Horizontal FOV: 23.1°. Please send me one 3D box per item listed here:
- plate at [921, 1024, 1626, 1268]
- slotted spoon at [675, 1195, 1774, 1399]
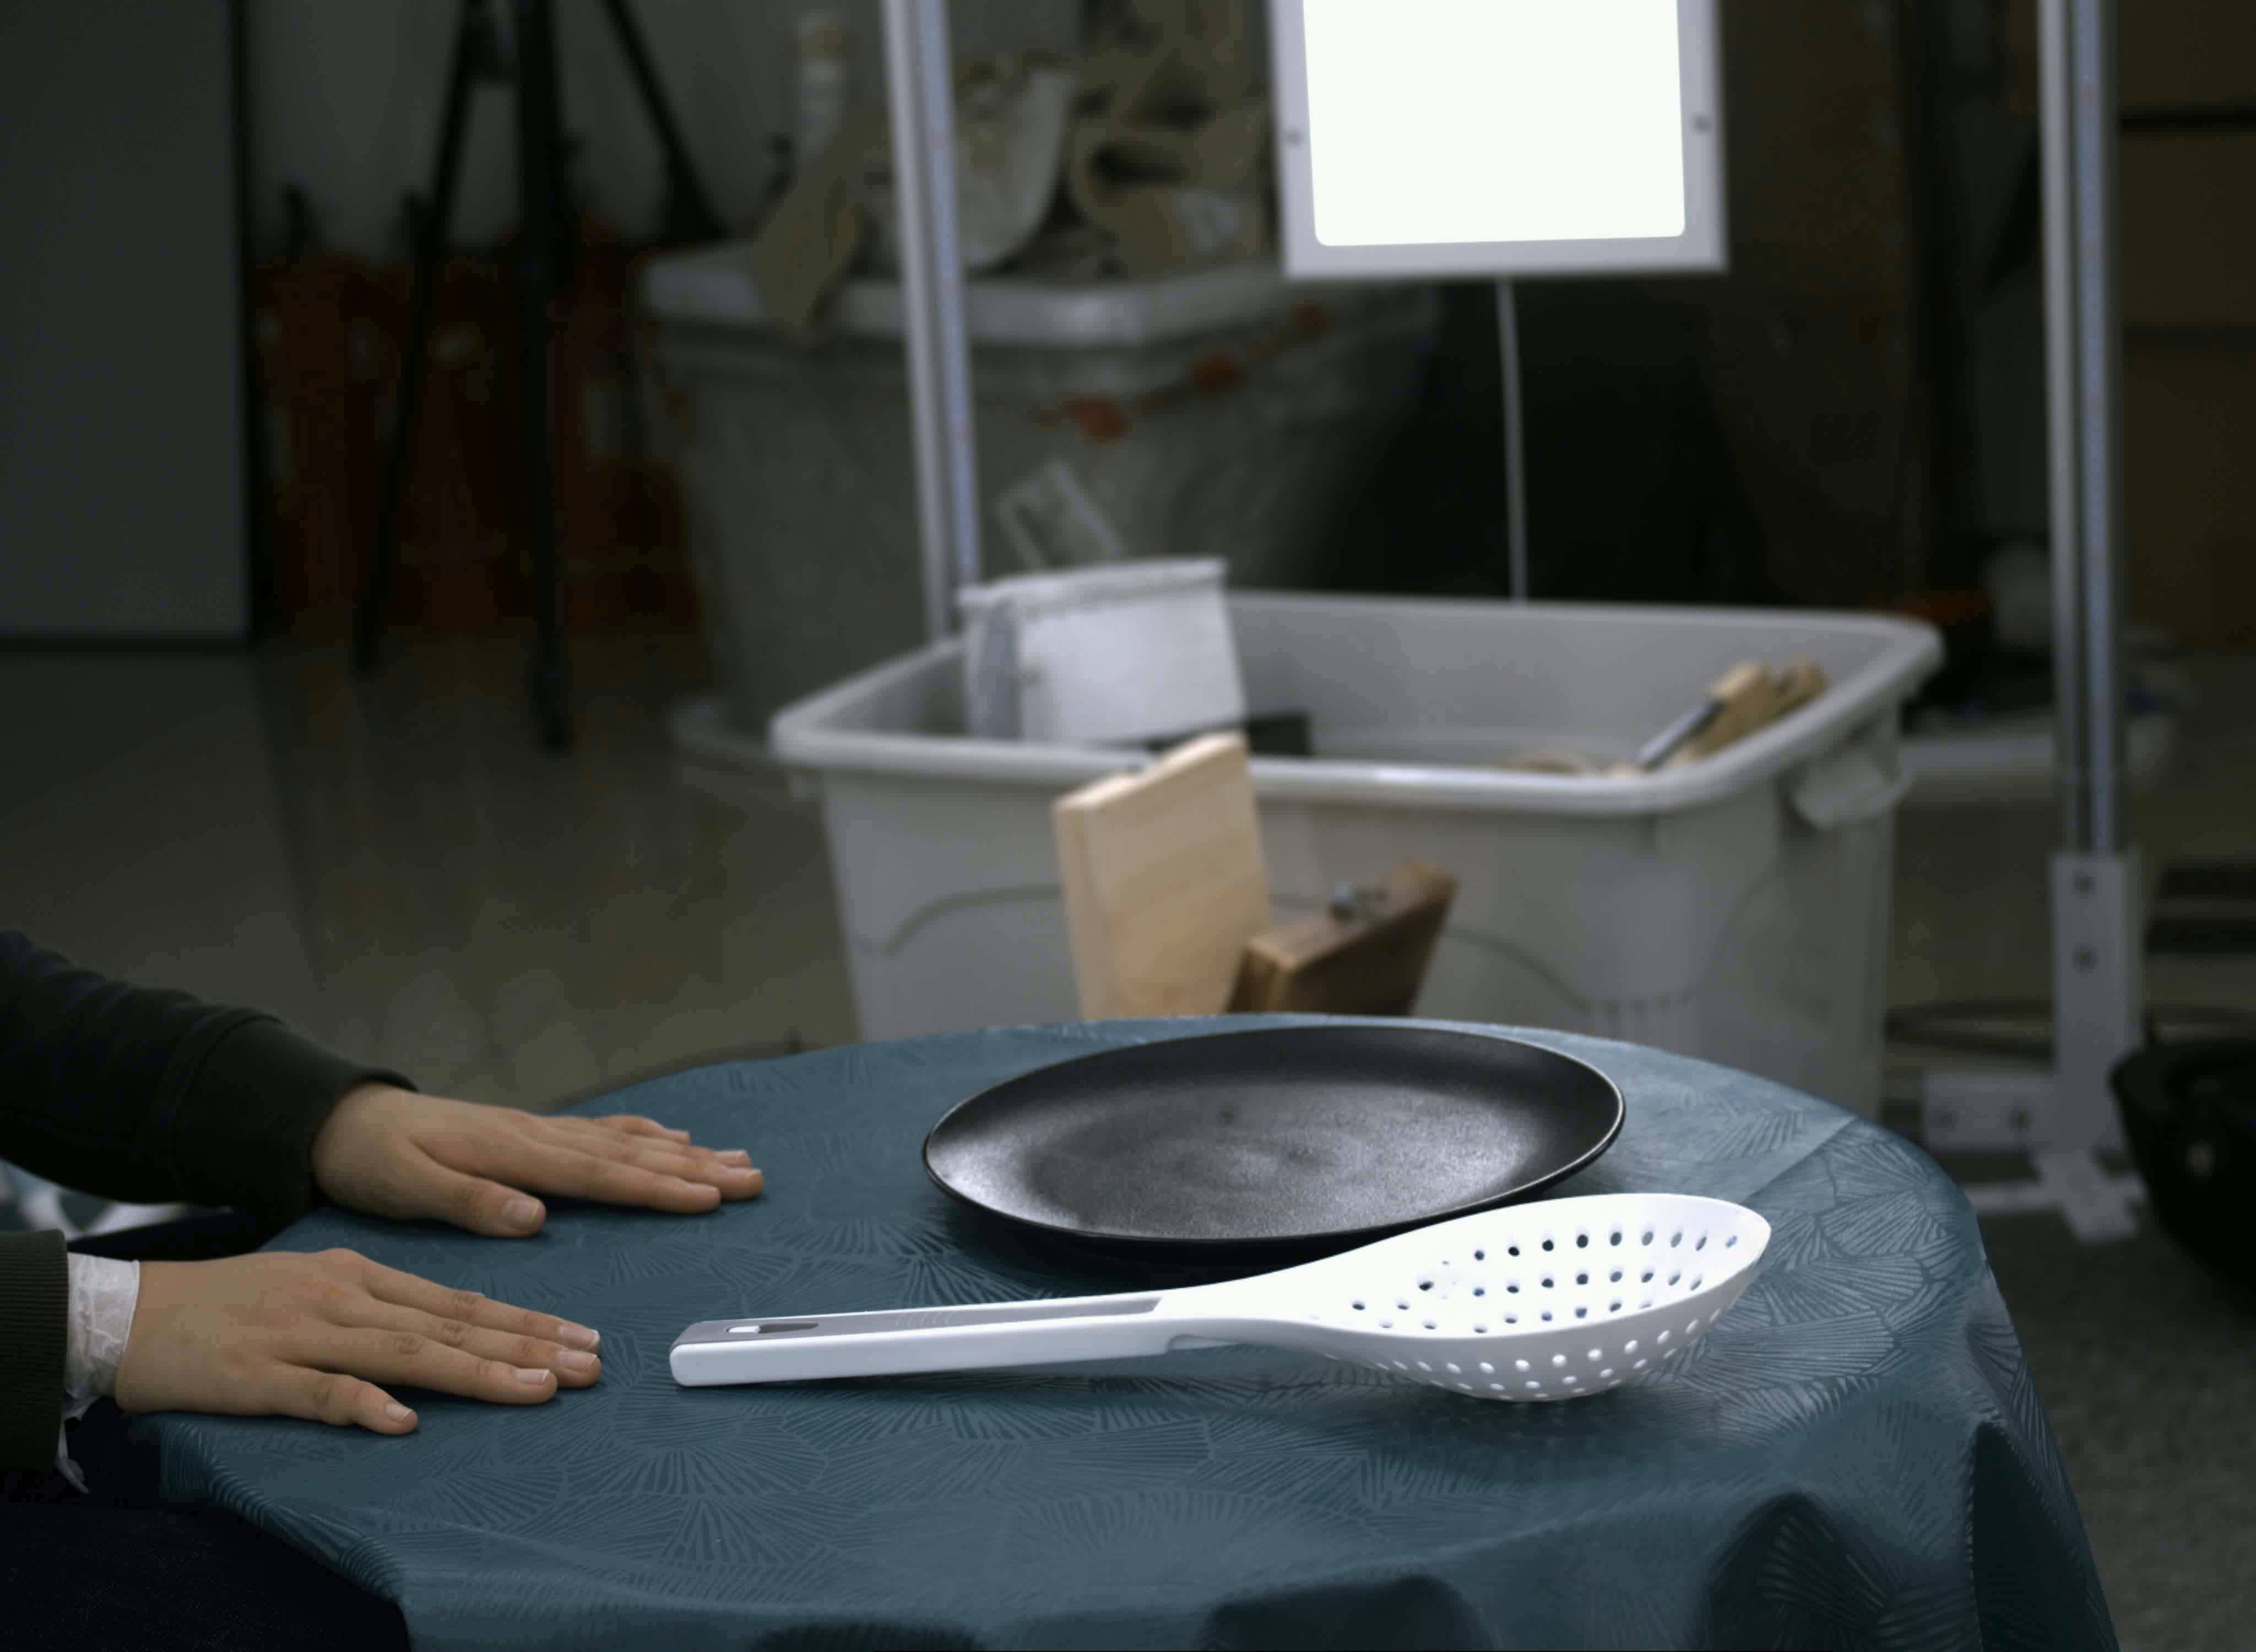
[{"bbox_3d":[0.050,0.112,1.889,0.244,0.023,0.244,-5,14,0],"label":"plate"},{"bbox_3d":[0.026,0.150,1.695,0.353,0.046,0.134,-2,12,17],"label":"slotted spoon"}]
